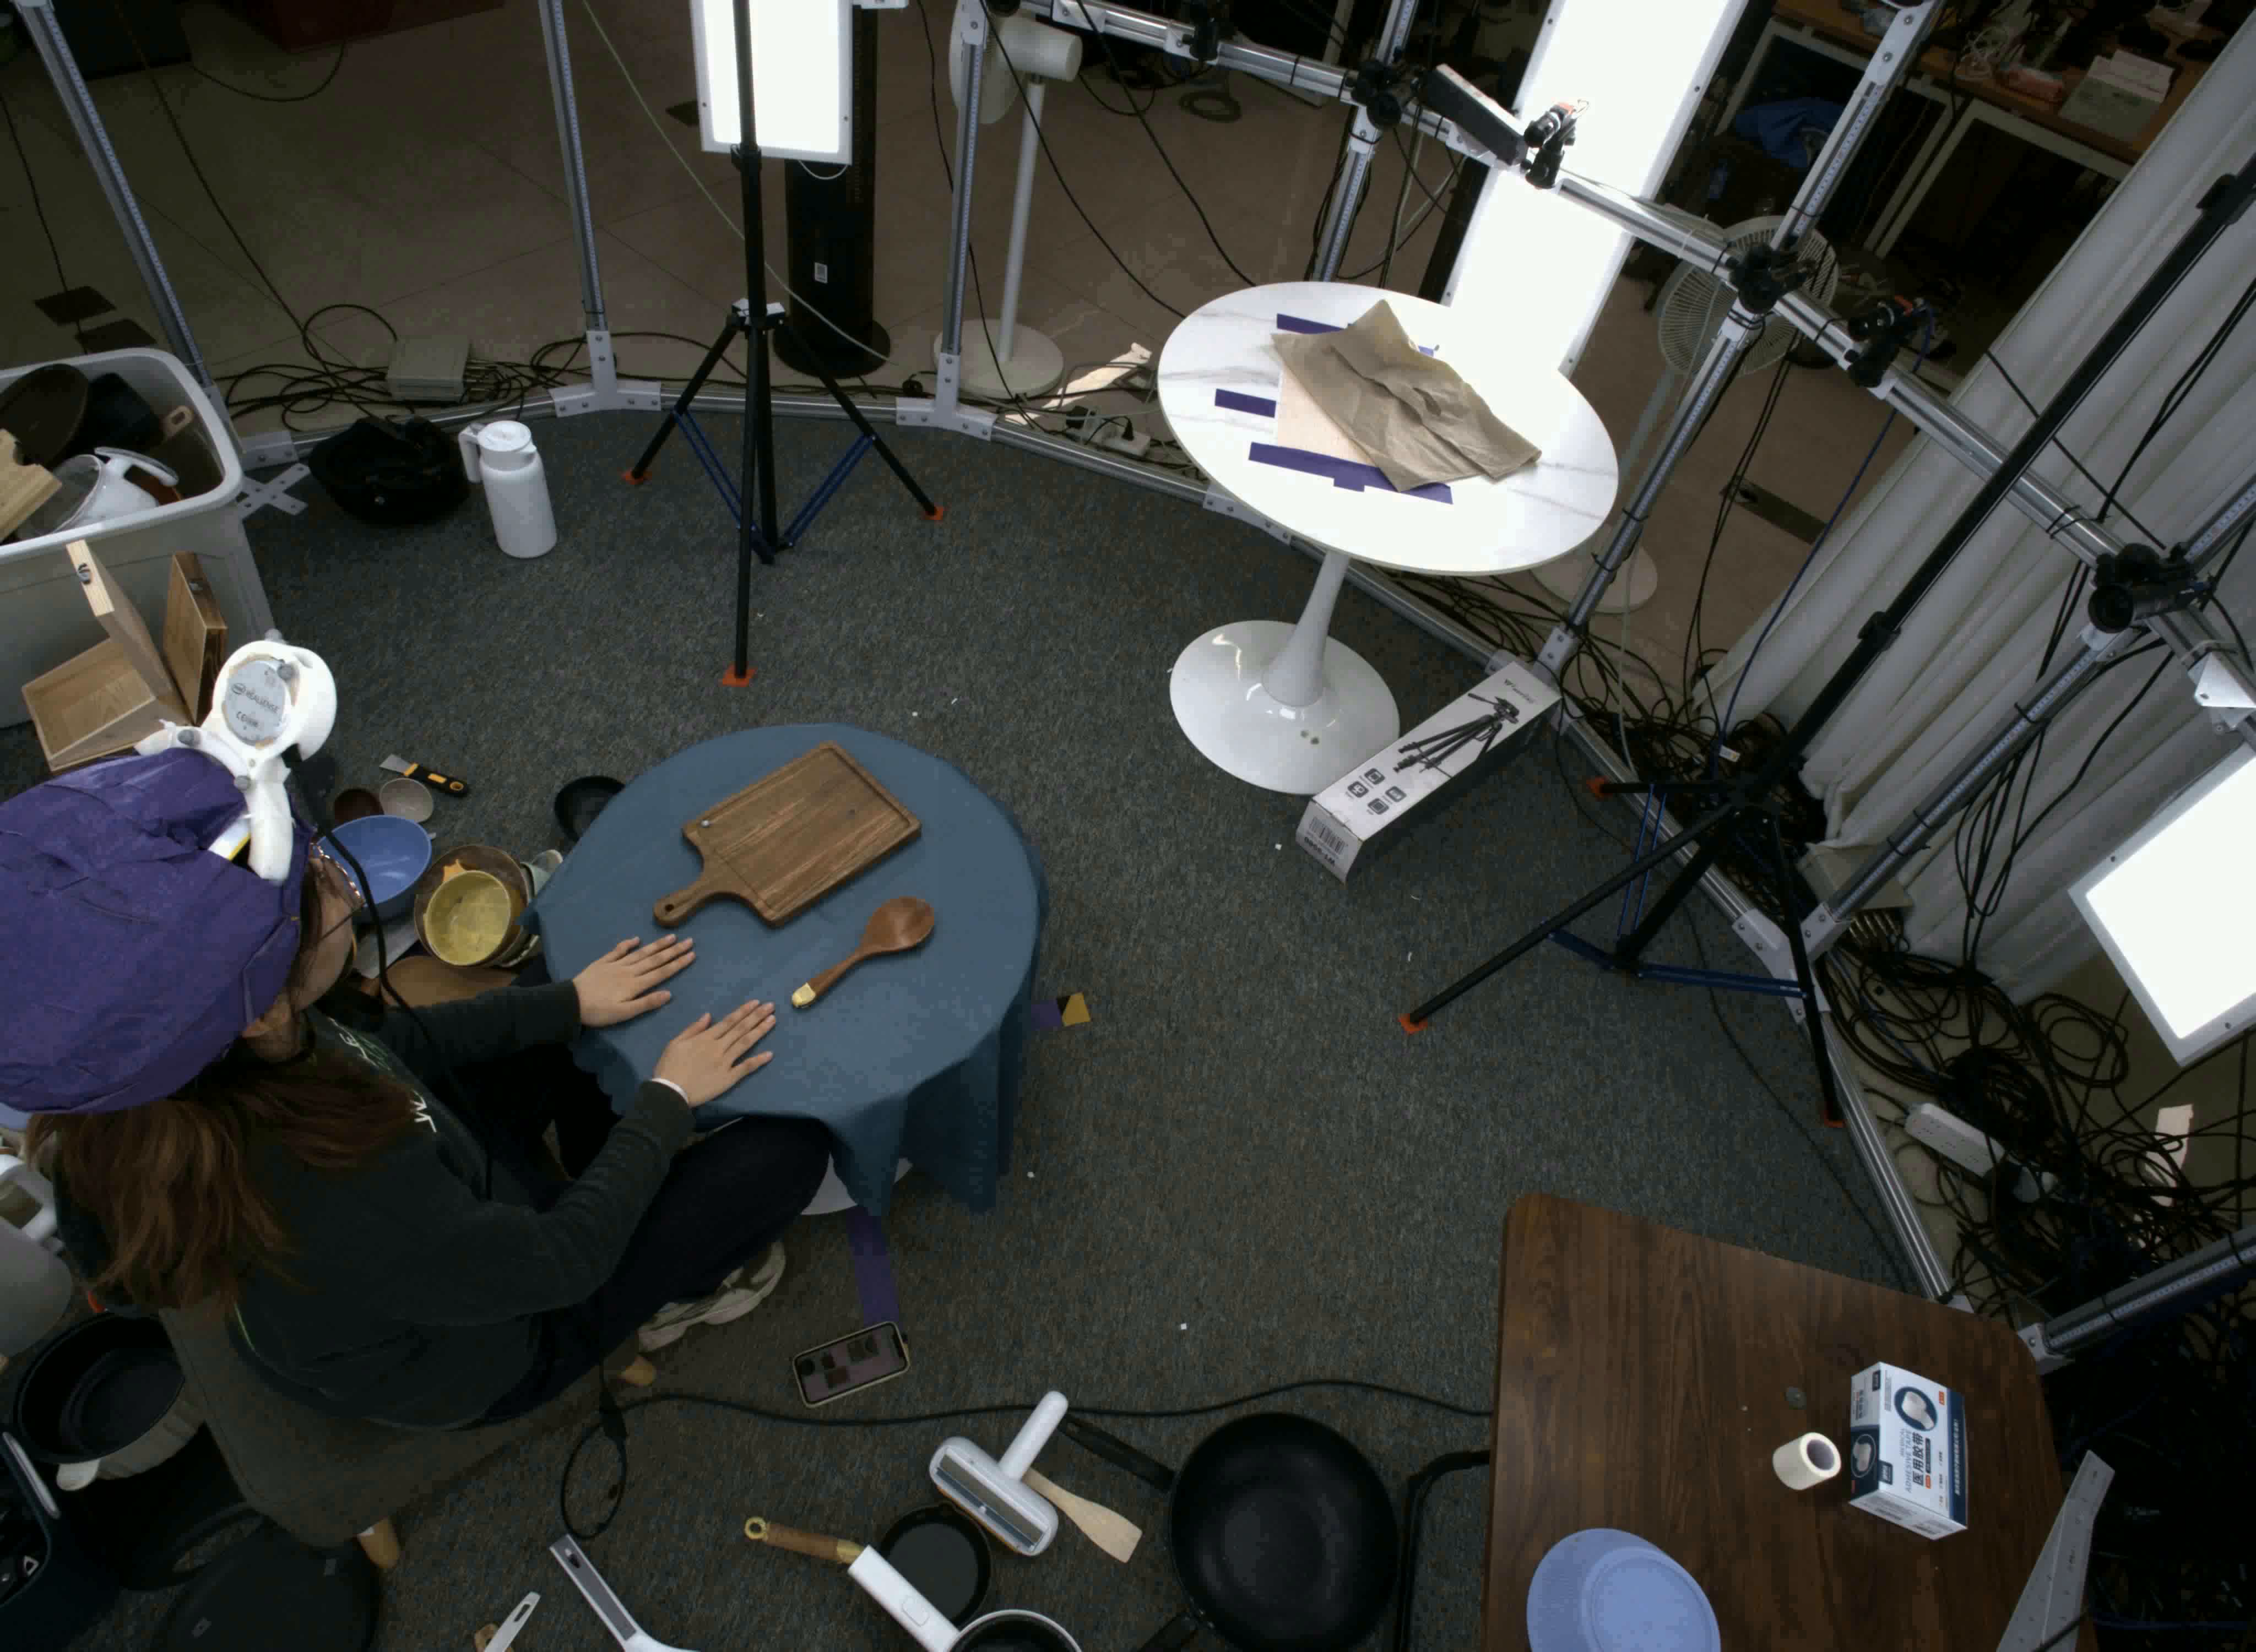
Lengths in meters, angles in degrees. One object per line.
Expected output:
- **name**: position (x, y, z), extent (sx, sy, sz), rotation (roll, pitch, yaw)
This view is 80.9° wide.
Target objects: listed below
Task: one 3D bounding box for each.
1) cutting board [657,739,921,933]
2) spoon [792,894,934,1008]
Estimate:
- **cutting board**: position (-0.462, 0.029, 1.686), extent (0.197, 0.023, 0.353), rotation (42, 55, 16)
- **spoon**: position (-0.332, 0.156, 1.625), extent (0.074, 0.017, 0.216), rotation (41, 54, 15)
